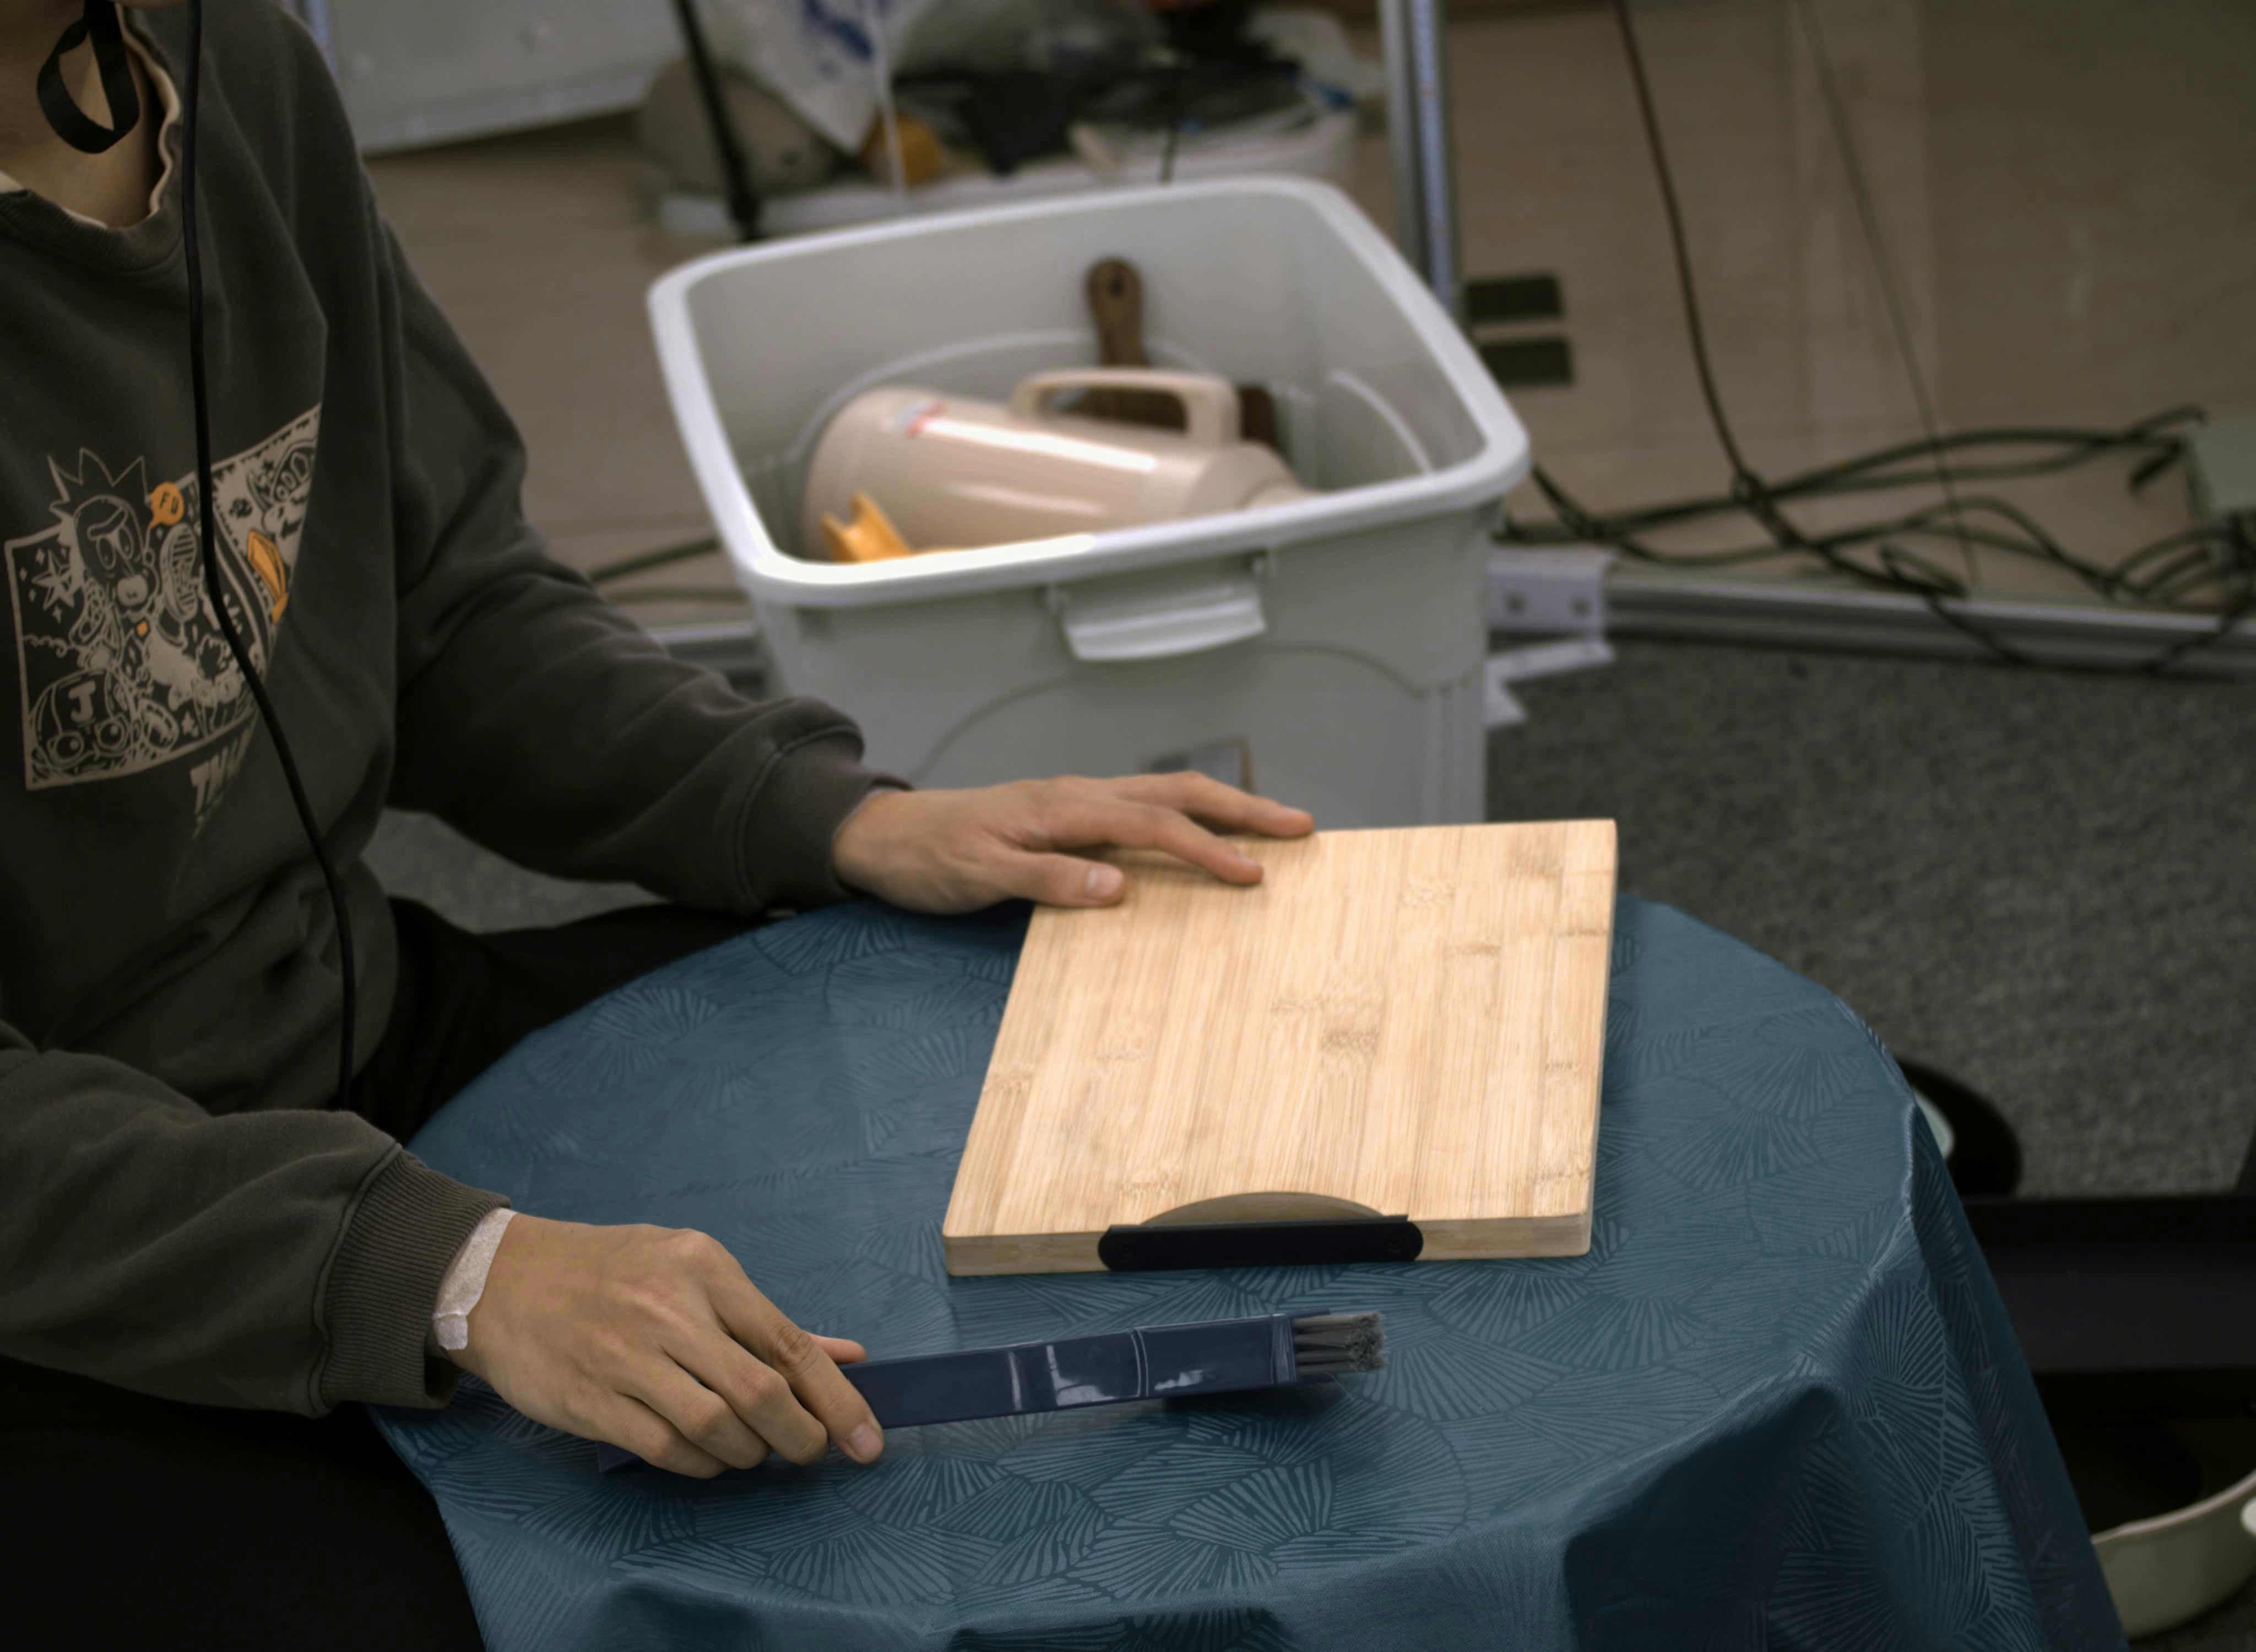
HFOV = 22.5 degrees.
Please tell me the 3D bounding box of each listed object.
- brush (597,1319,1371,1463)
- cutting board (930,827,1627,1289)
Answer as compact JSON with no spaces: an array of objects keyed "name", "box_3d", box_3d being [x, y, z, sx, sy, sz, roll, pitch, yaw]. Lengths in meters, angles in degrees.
[{"name":"brush","box_3d":[-0.053,0.194,1.983,0.273,0.033,0.096,-7,-1,1]},{"name":"cutting board","box_3d":[0.067,0.086,2.226,0.250,0.024,0.343,-4,25,8]}]
